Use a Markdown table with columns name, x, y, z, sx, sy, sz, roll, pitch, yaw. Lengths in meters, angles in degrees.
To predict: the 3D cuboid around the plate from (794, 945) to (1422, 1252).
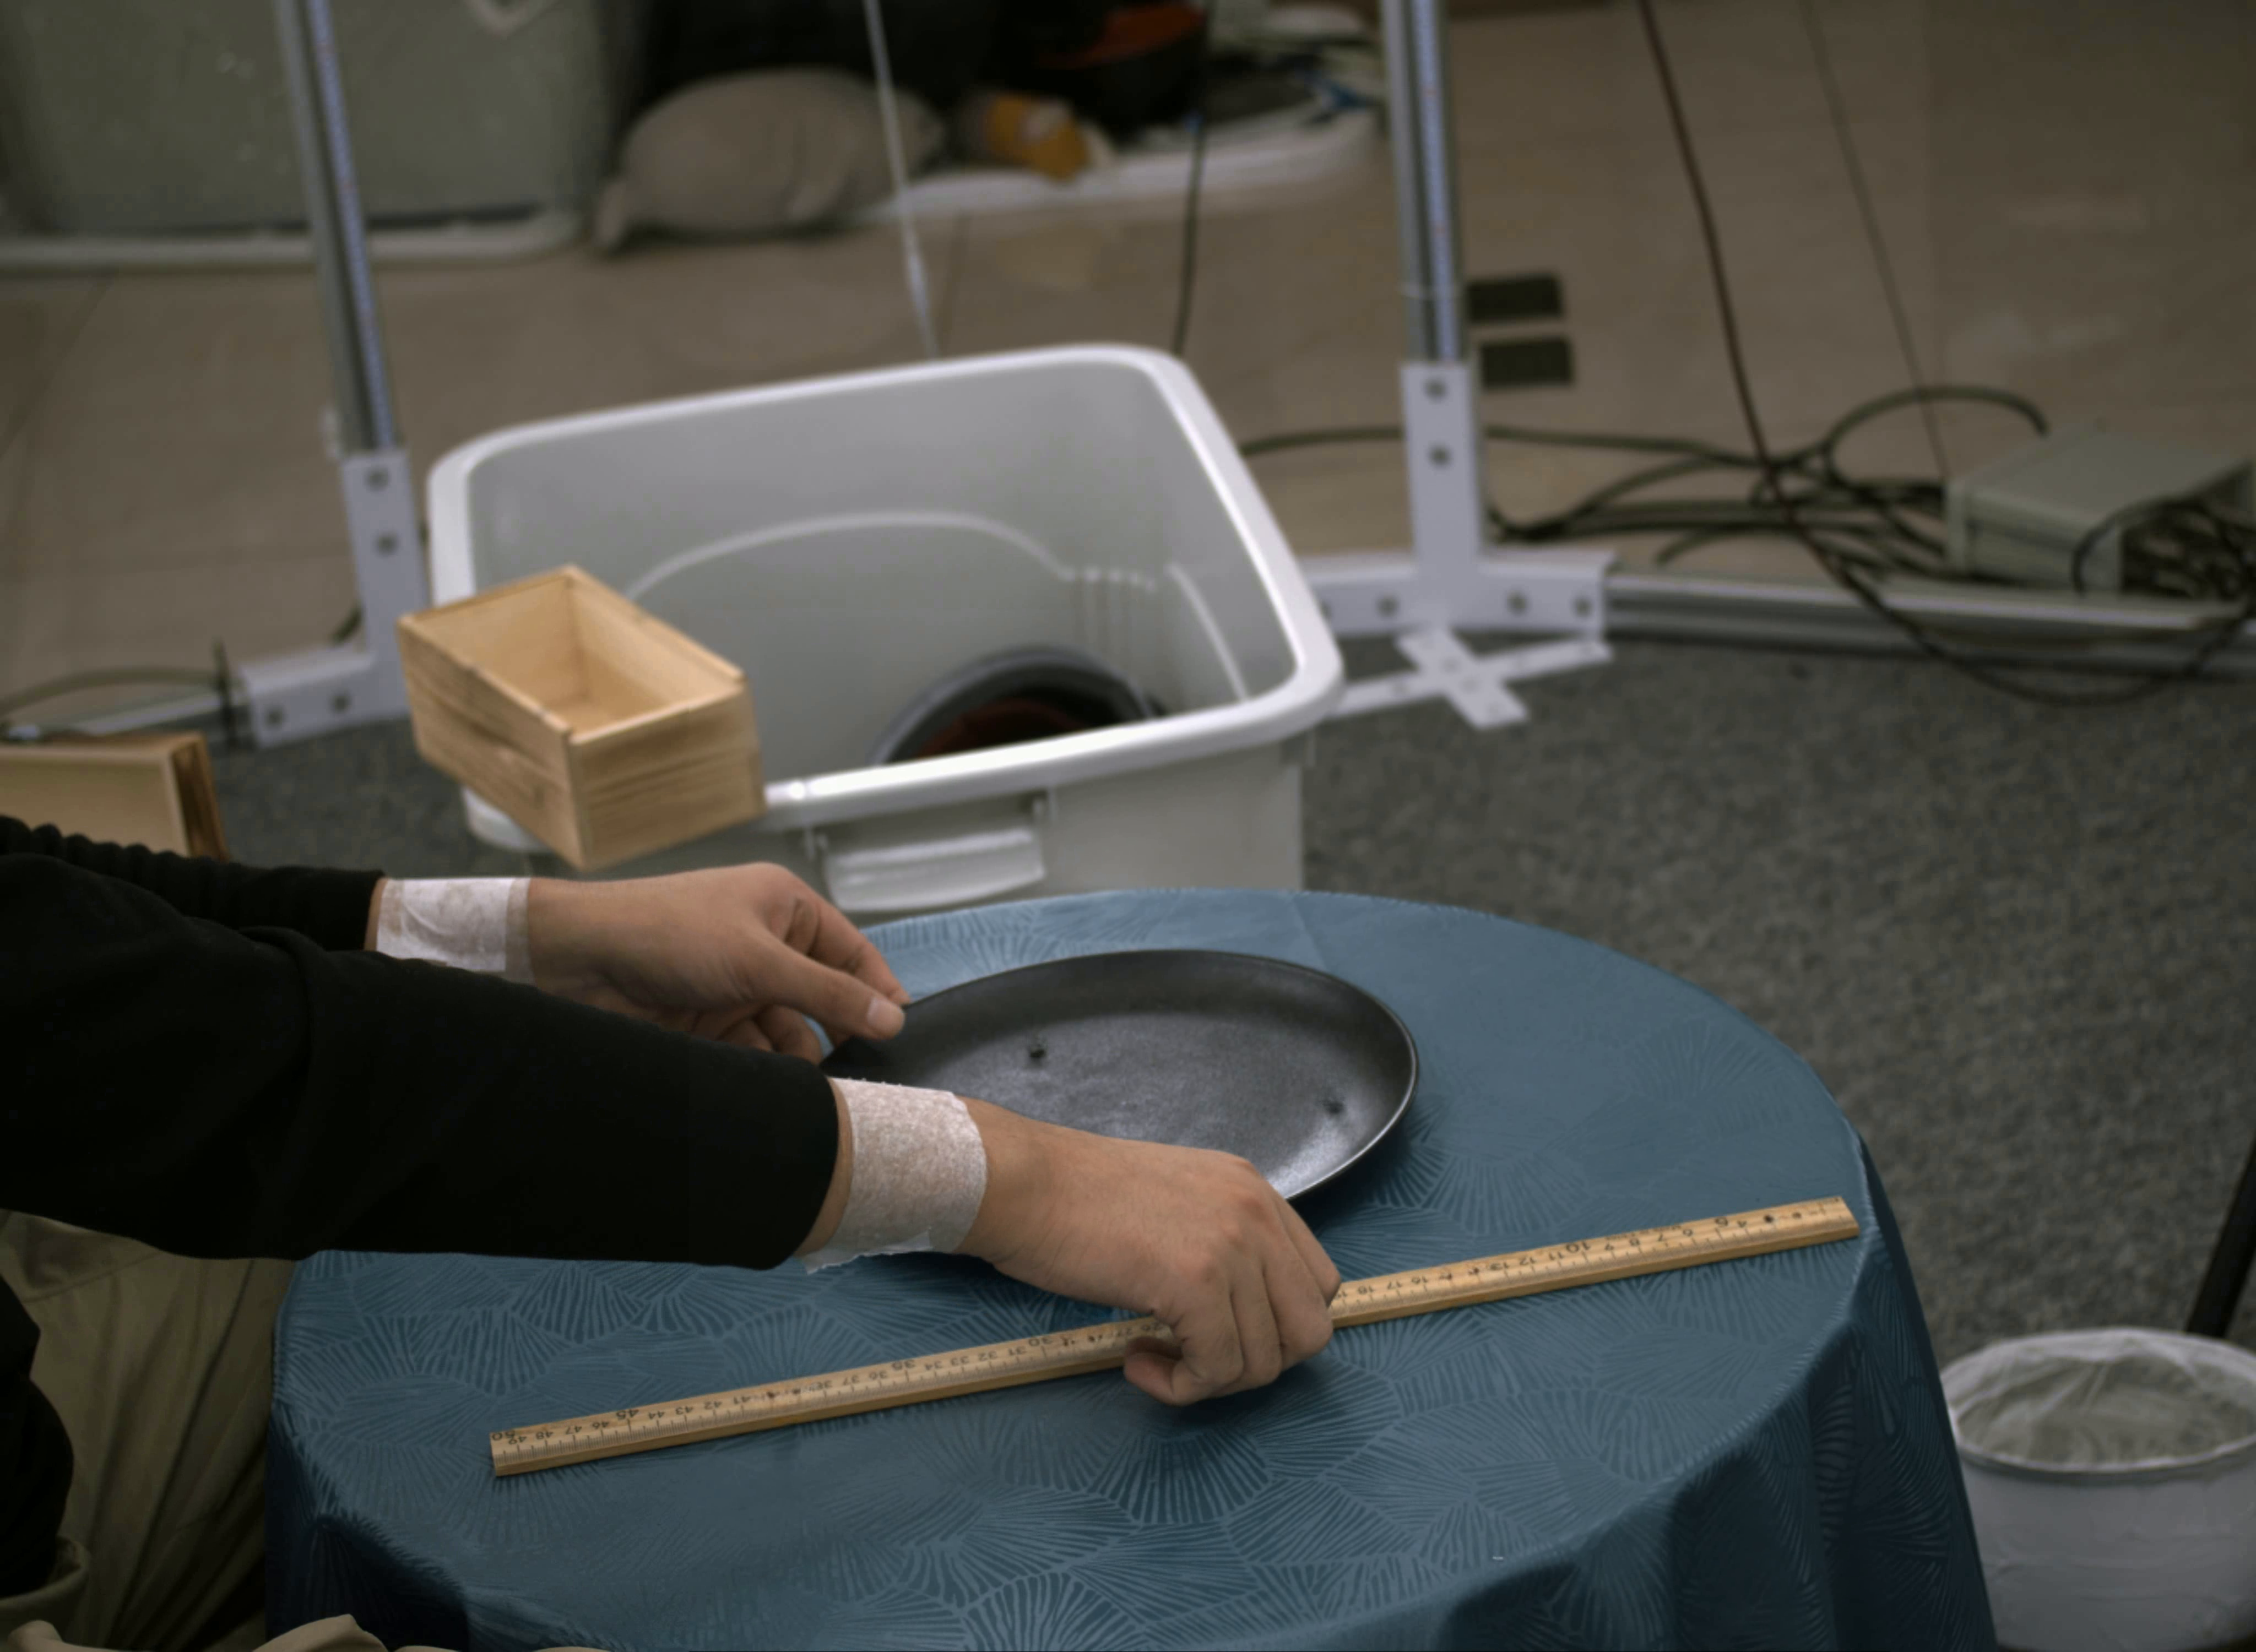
| name | x | y | z | sx | sy | sz | roll | pitch | yaw |
| --- | --- | --- | --- | --- | --- | --- | --- | --- | --- |
| plate | -0.007 | 0.110 | 2.184 | 0.244 | 0.024 | 0.241 | -5 | 25 | 3 |

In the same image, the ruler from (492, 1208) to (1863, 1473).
| name | x | y | z | sx | sy | sz | roll | pitch | yaw |
| --- | --- | --- | --- | --- | --- | --- | --- | --- | --- |
| ruler | 0.019 | 0.183 | 2.043 | 0.499 | 0.006 | 0.026 | -9 | 21 | -5 |
